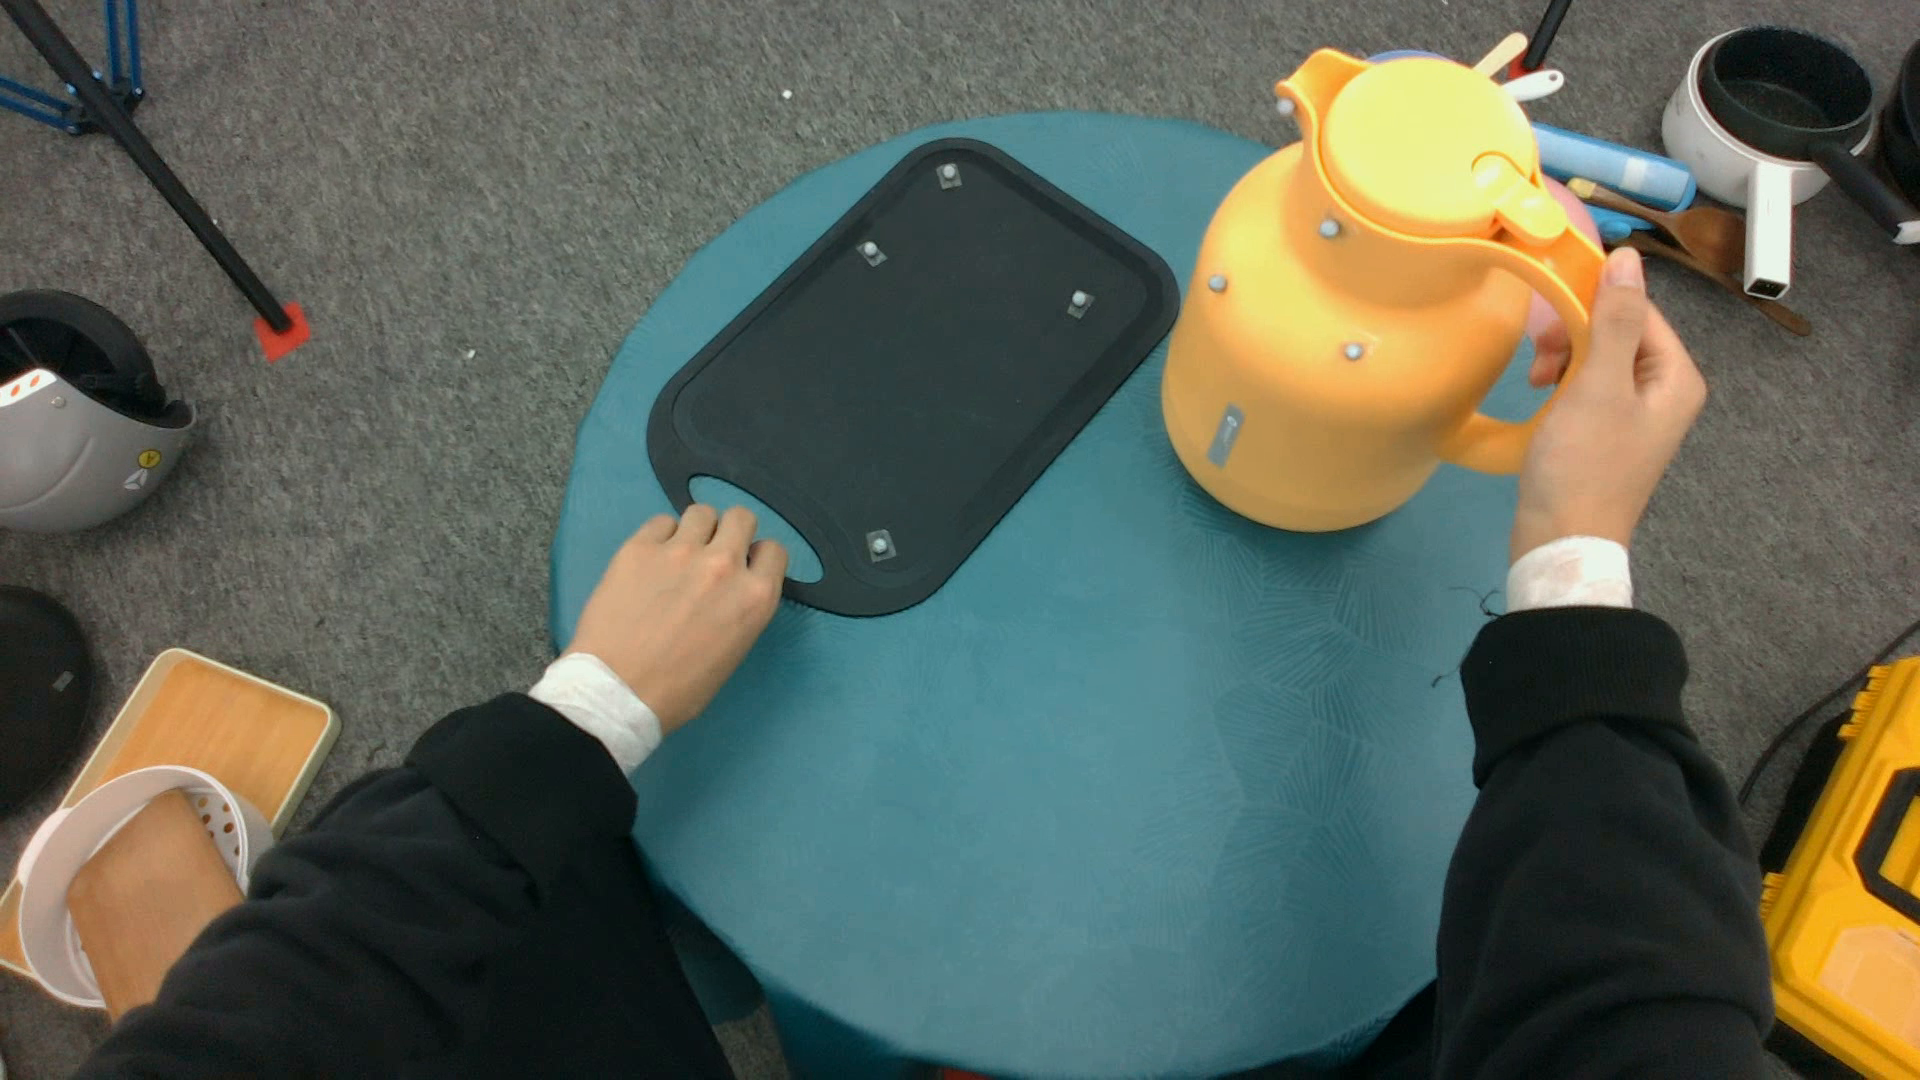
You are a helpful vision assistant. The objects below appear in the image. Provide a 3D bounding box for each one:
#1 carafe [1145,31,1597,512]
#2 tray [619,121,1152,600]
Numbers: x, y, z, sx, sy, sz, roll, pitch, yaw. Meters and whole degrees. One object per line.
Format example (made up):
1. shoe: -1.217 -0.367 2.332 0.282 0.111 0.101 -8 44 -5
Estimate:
1. carafe: 0.198 -0.117 0.690 0.164 0.259 0.202 -41 72 -15
2. tray: -0.044 -0.114 0.820 0.211 0.010 0.326 37 70 14
